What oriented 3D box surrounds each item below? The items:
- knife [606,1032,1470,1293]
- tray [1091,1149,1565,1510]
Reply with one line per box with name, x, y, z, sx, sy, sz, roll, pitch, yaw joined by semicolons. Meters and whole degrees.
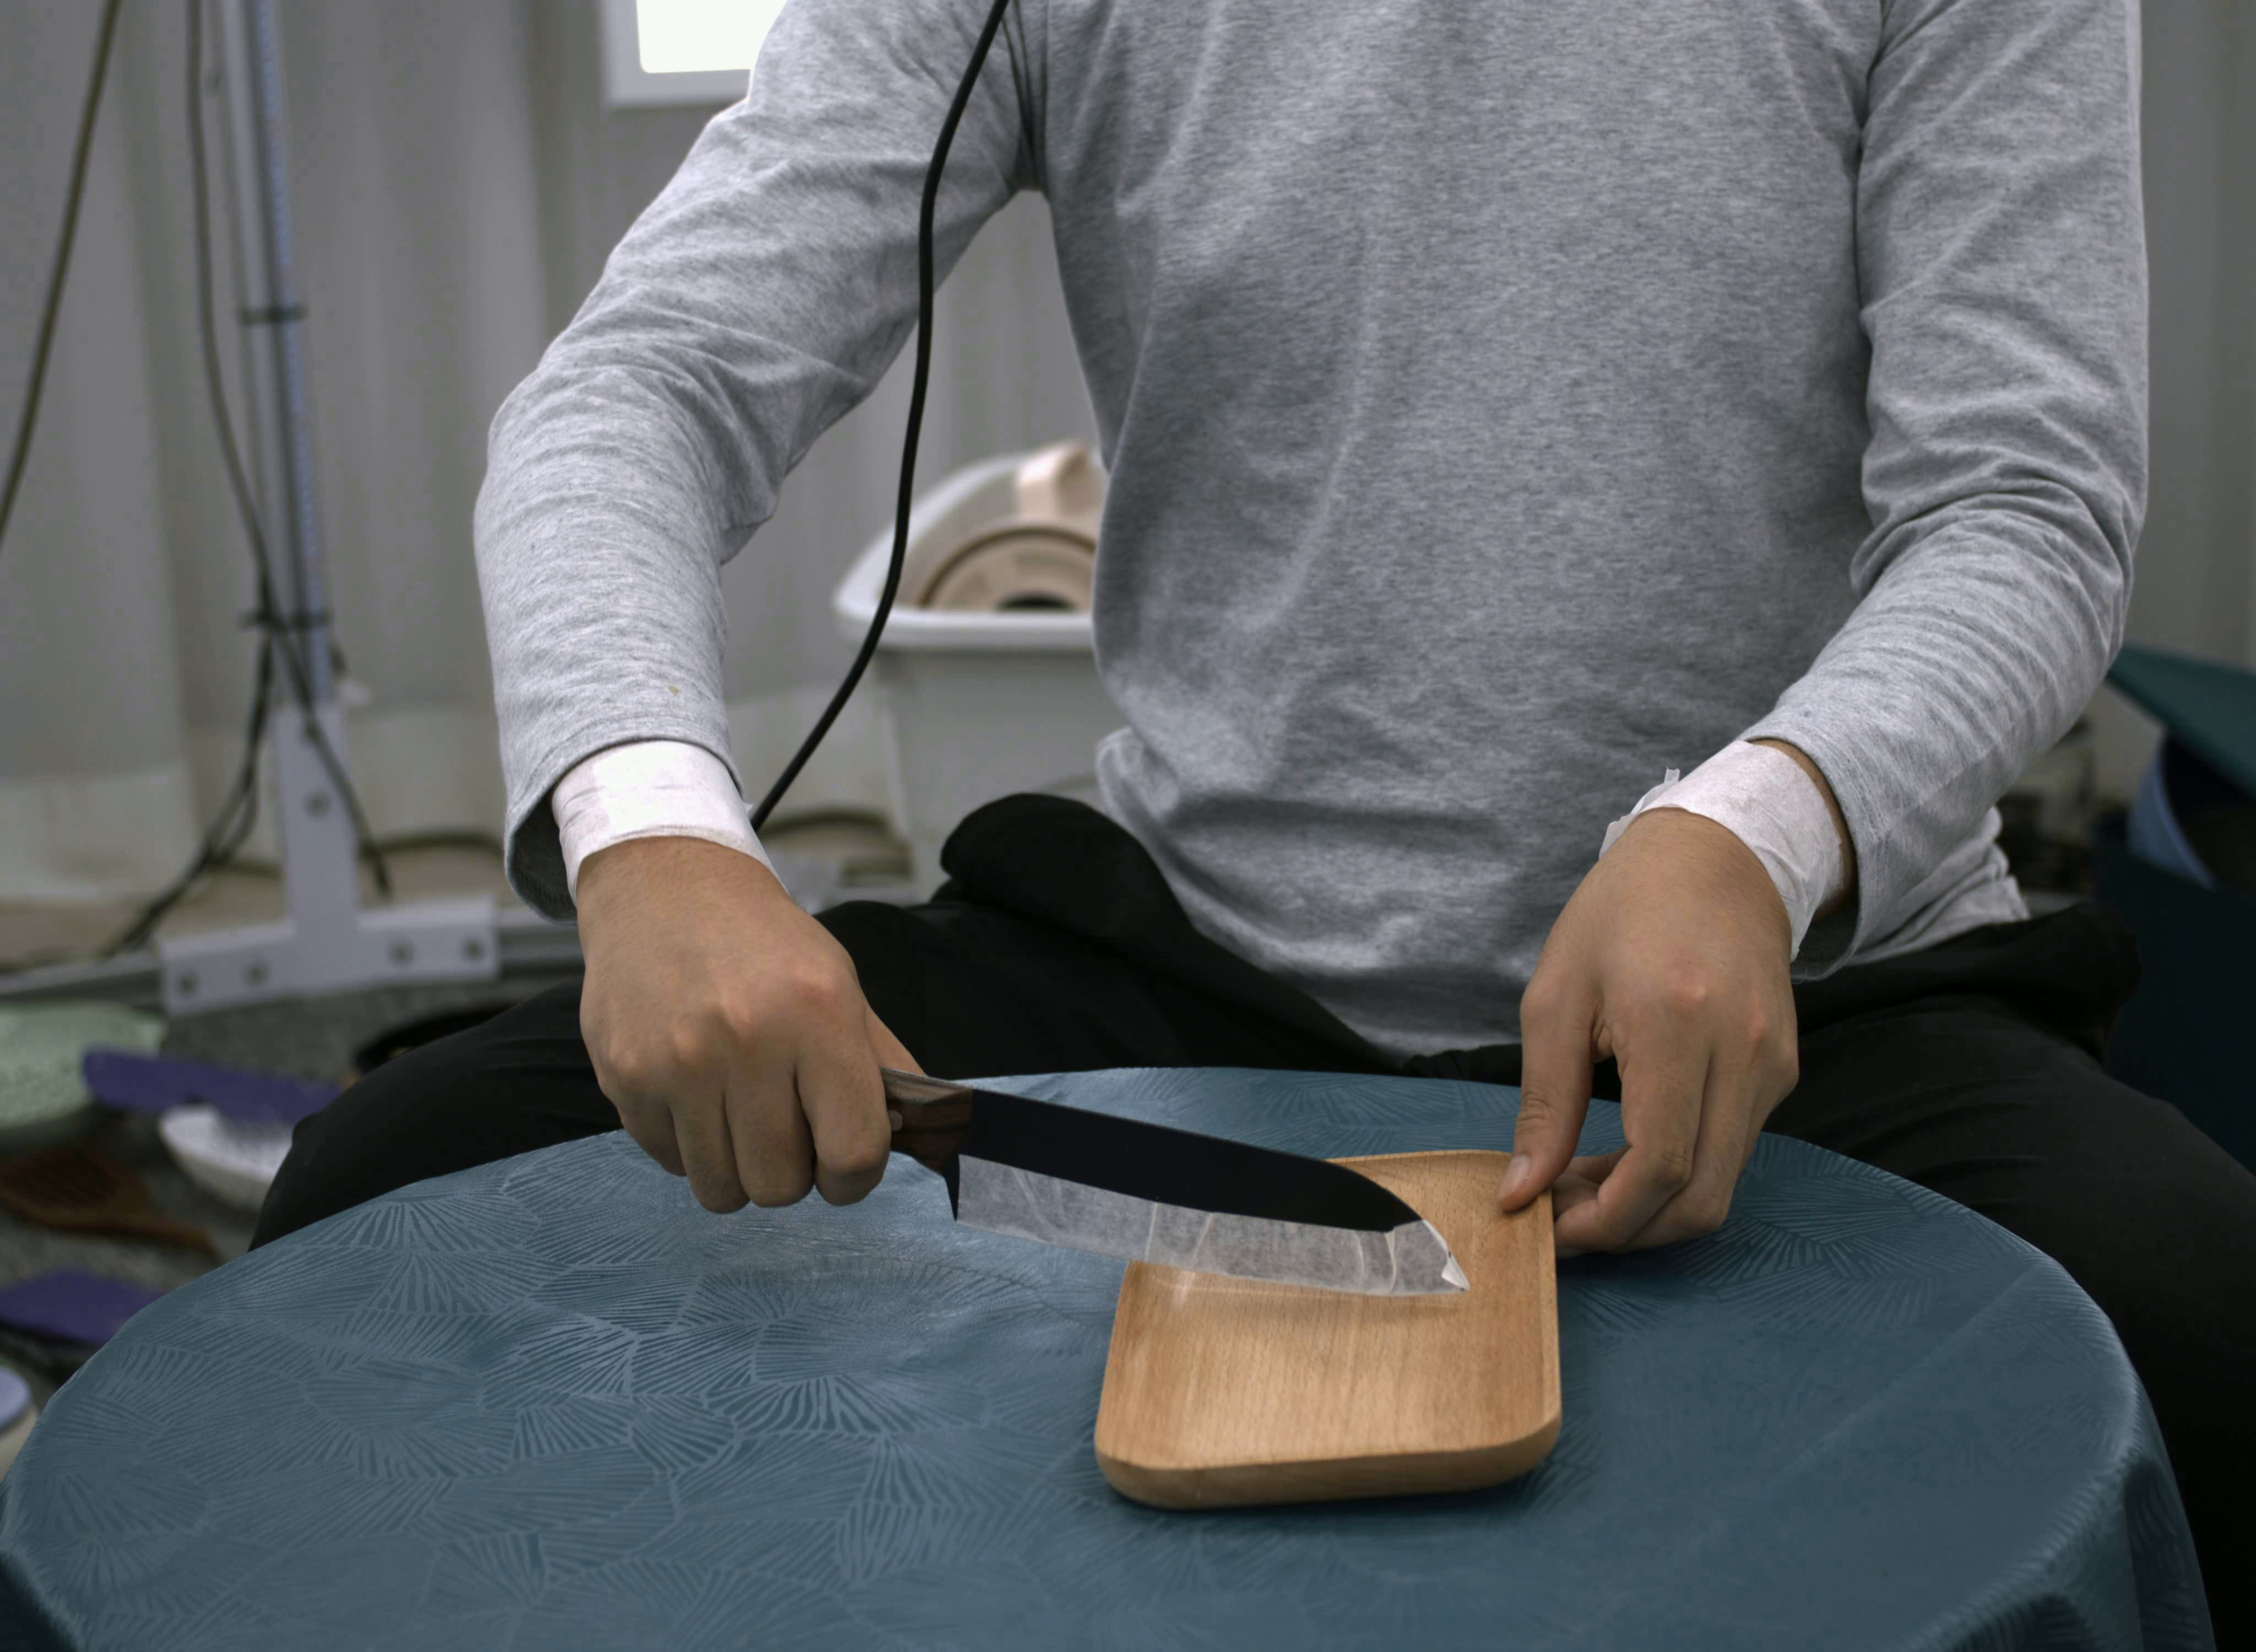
knife;-0.030;0.100;1.621;0.290;0.050;0.020;12;18;25
tray;0.061;0.141;1.564;0.130;0.023;0.252;-2;14;6
